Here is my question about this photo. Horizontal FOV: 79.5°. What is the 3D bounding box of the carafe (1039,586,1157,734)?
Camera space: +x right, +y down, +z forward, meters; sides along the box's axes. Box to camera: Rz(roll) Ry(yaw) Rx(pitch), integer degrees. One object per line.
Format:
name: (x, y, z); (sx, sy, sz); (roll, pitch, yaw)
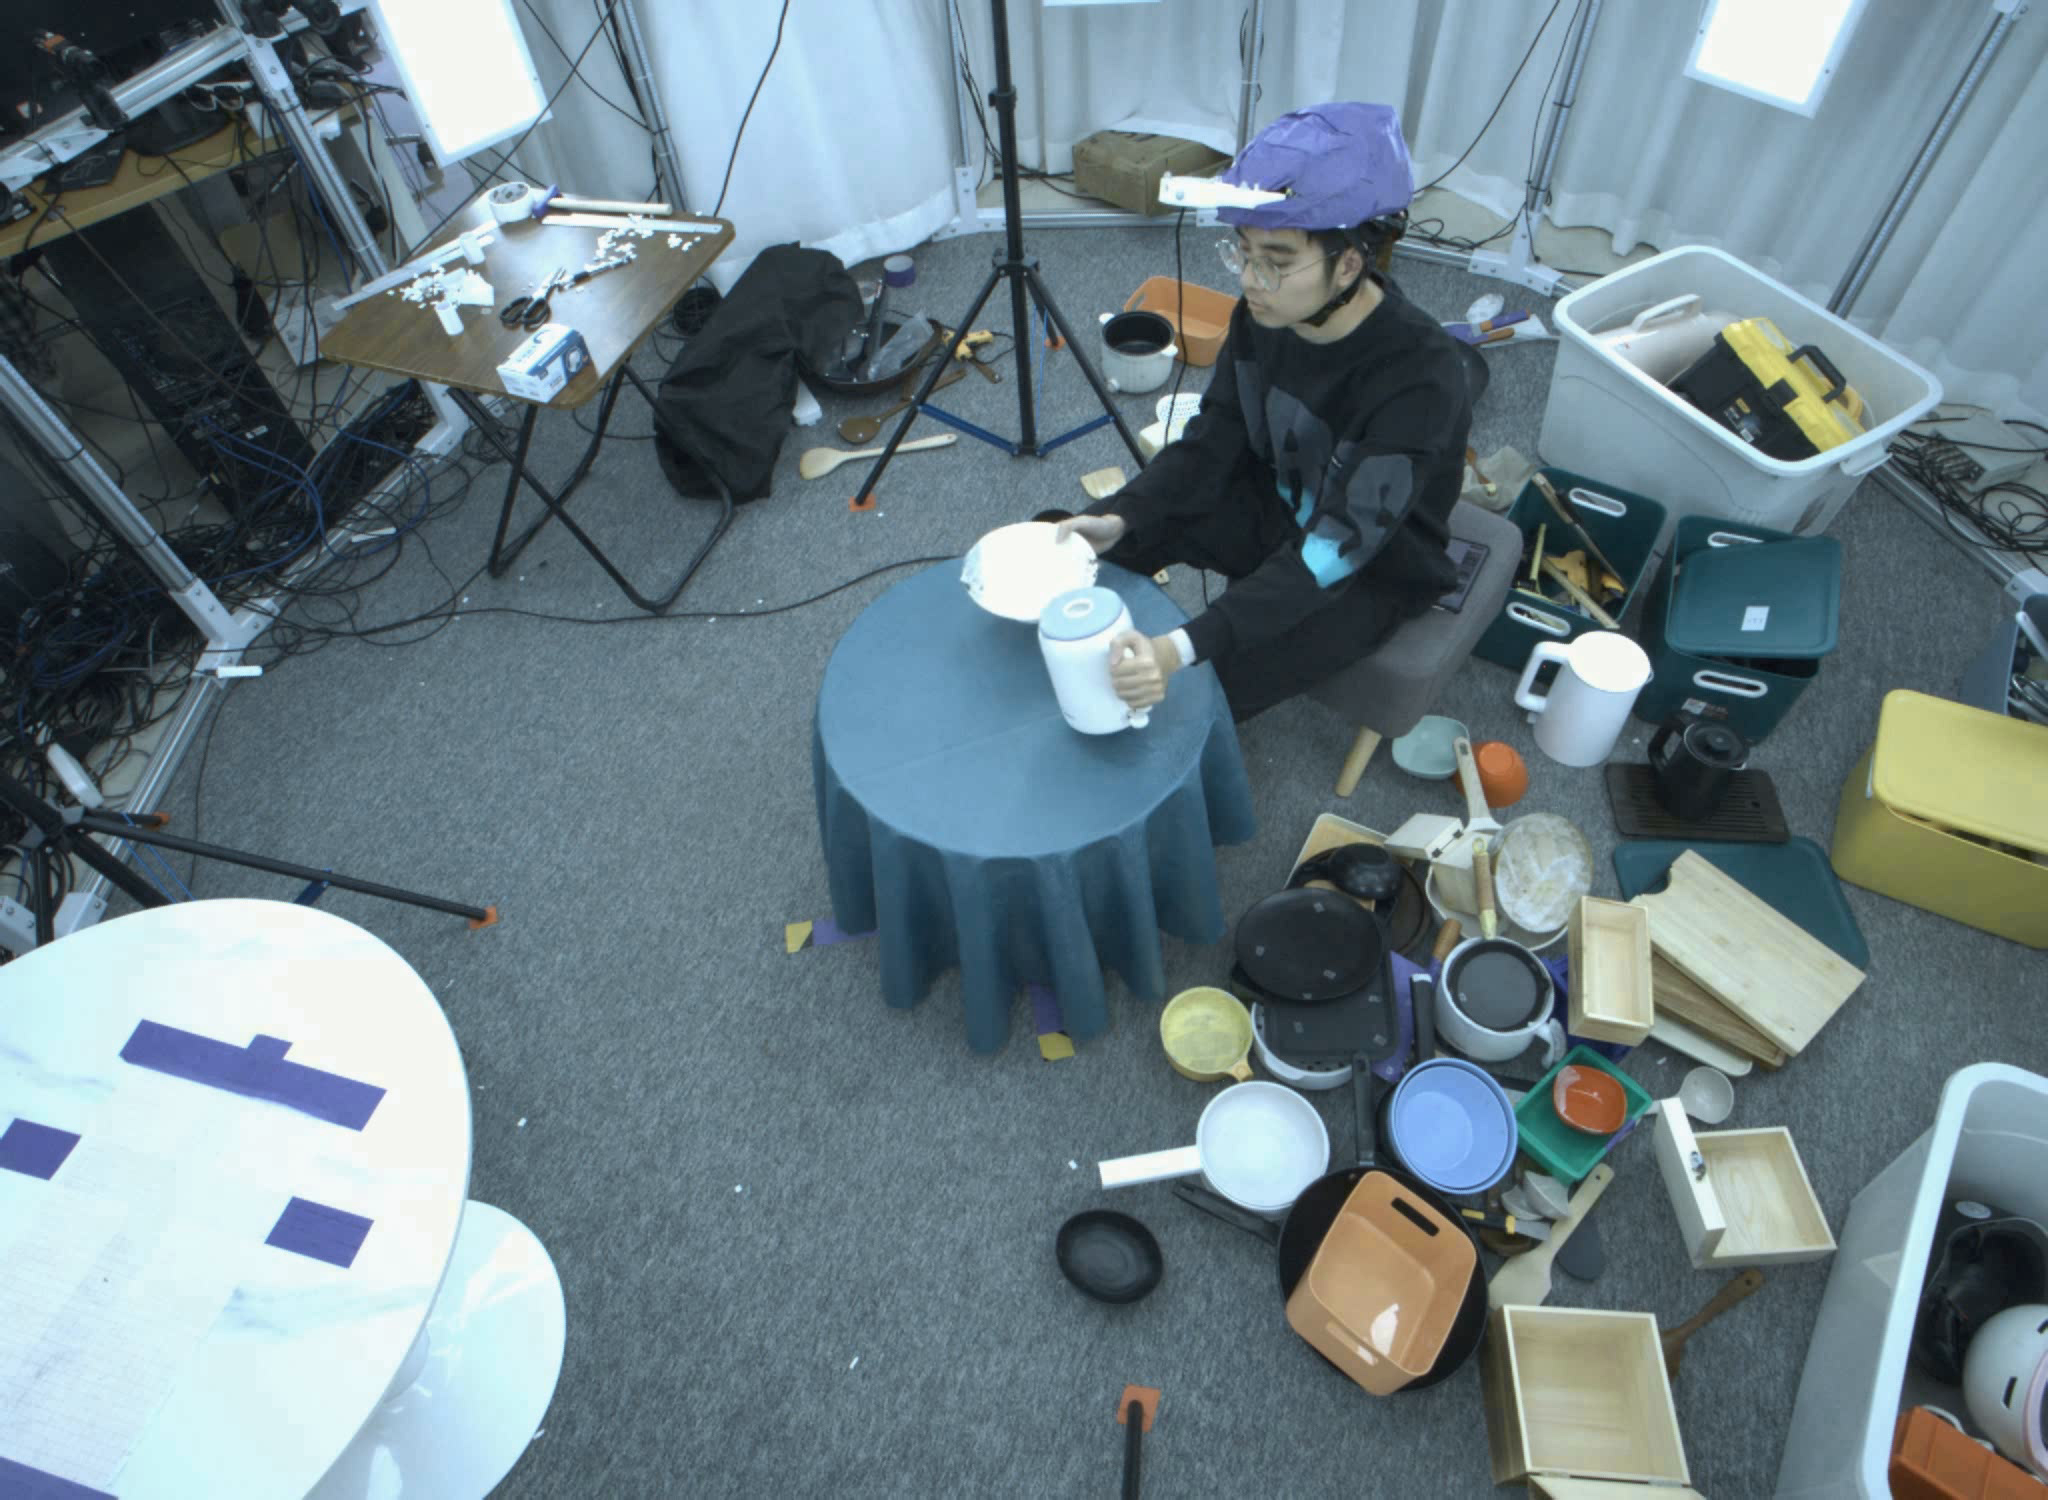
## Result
carafe: (0.113, -0.115, 1.704); (0.133, 0.185, 0.186); (-36, 45, -17)

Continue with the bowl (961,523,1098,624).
bowl: (0.008, -0.248, 1.862); (0.204, 0.078, 0.202); (1, 53, 0)
